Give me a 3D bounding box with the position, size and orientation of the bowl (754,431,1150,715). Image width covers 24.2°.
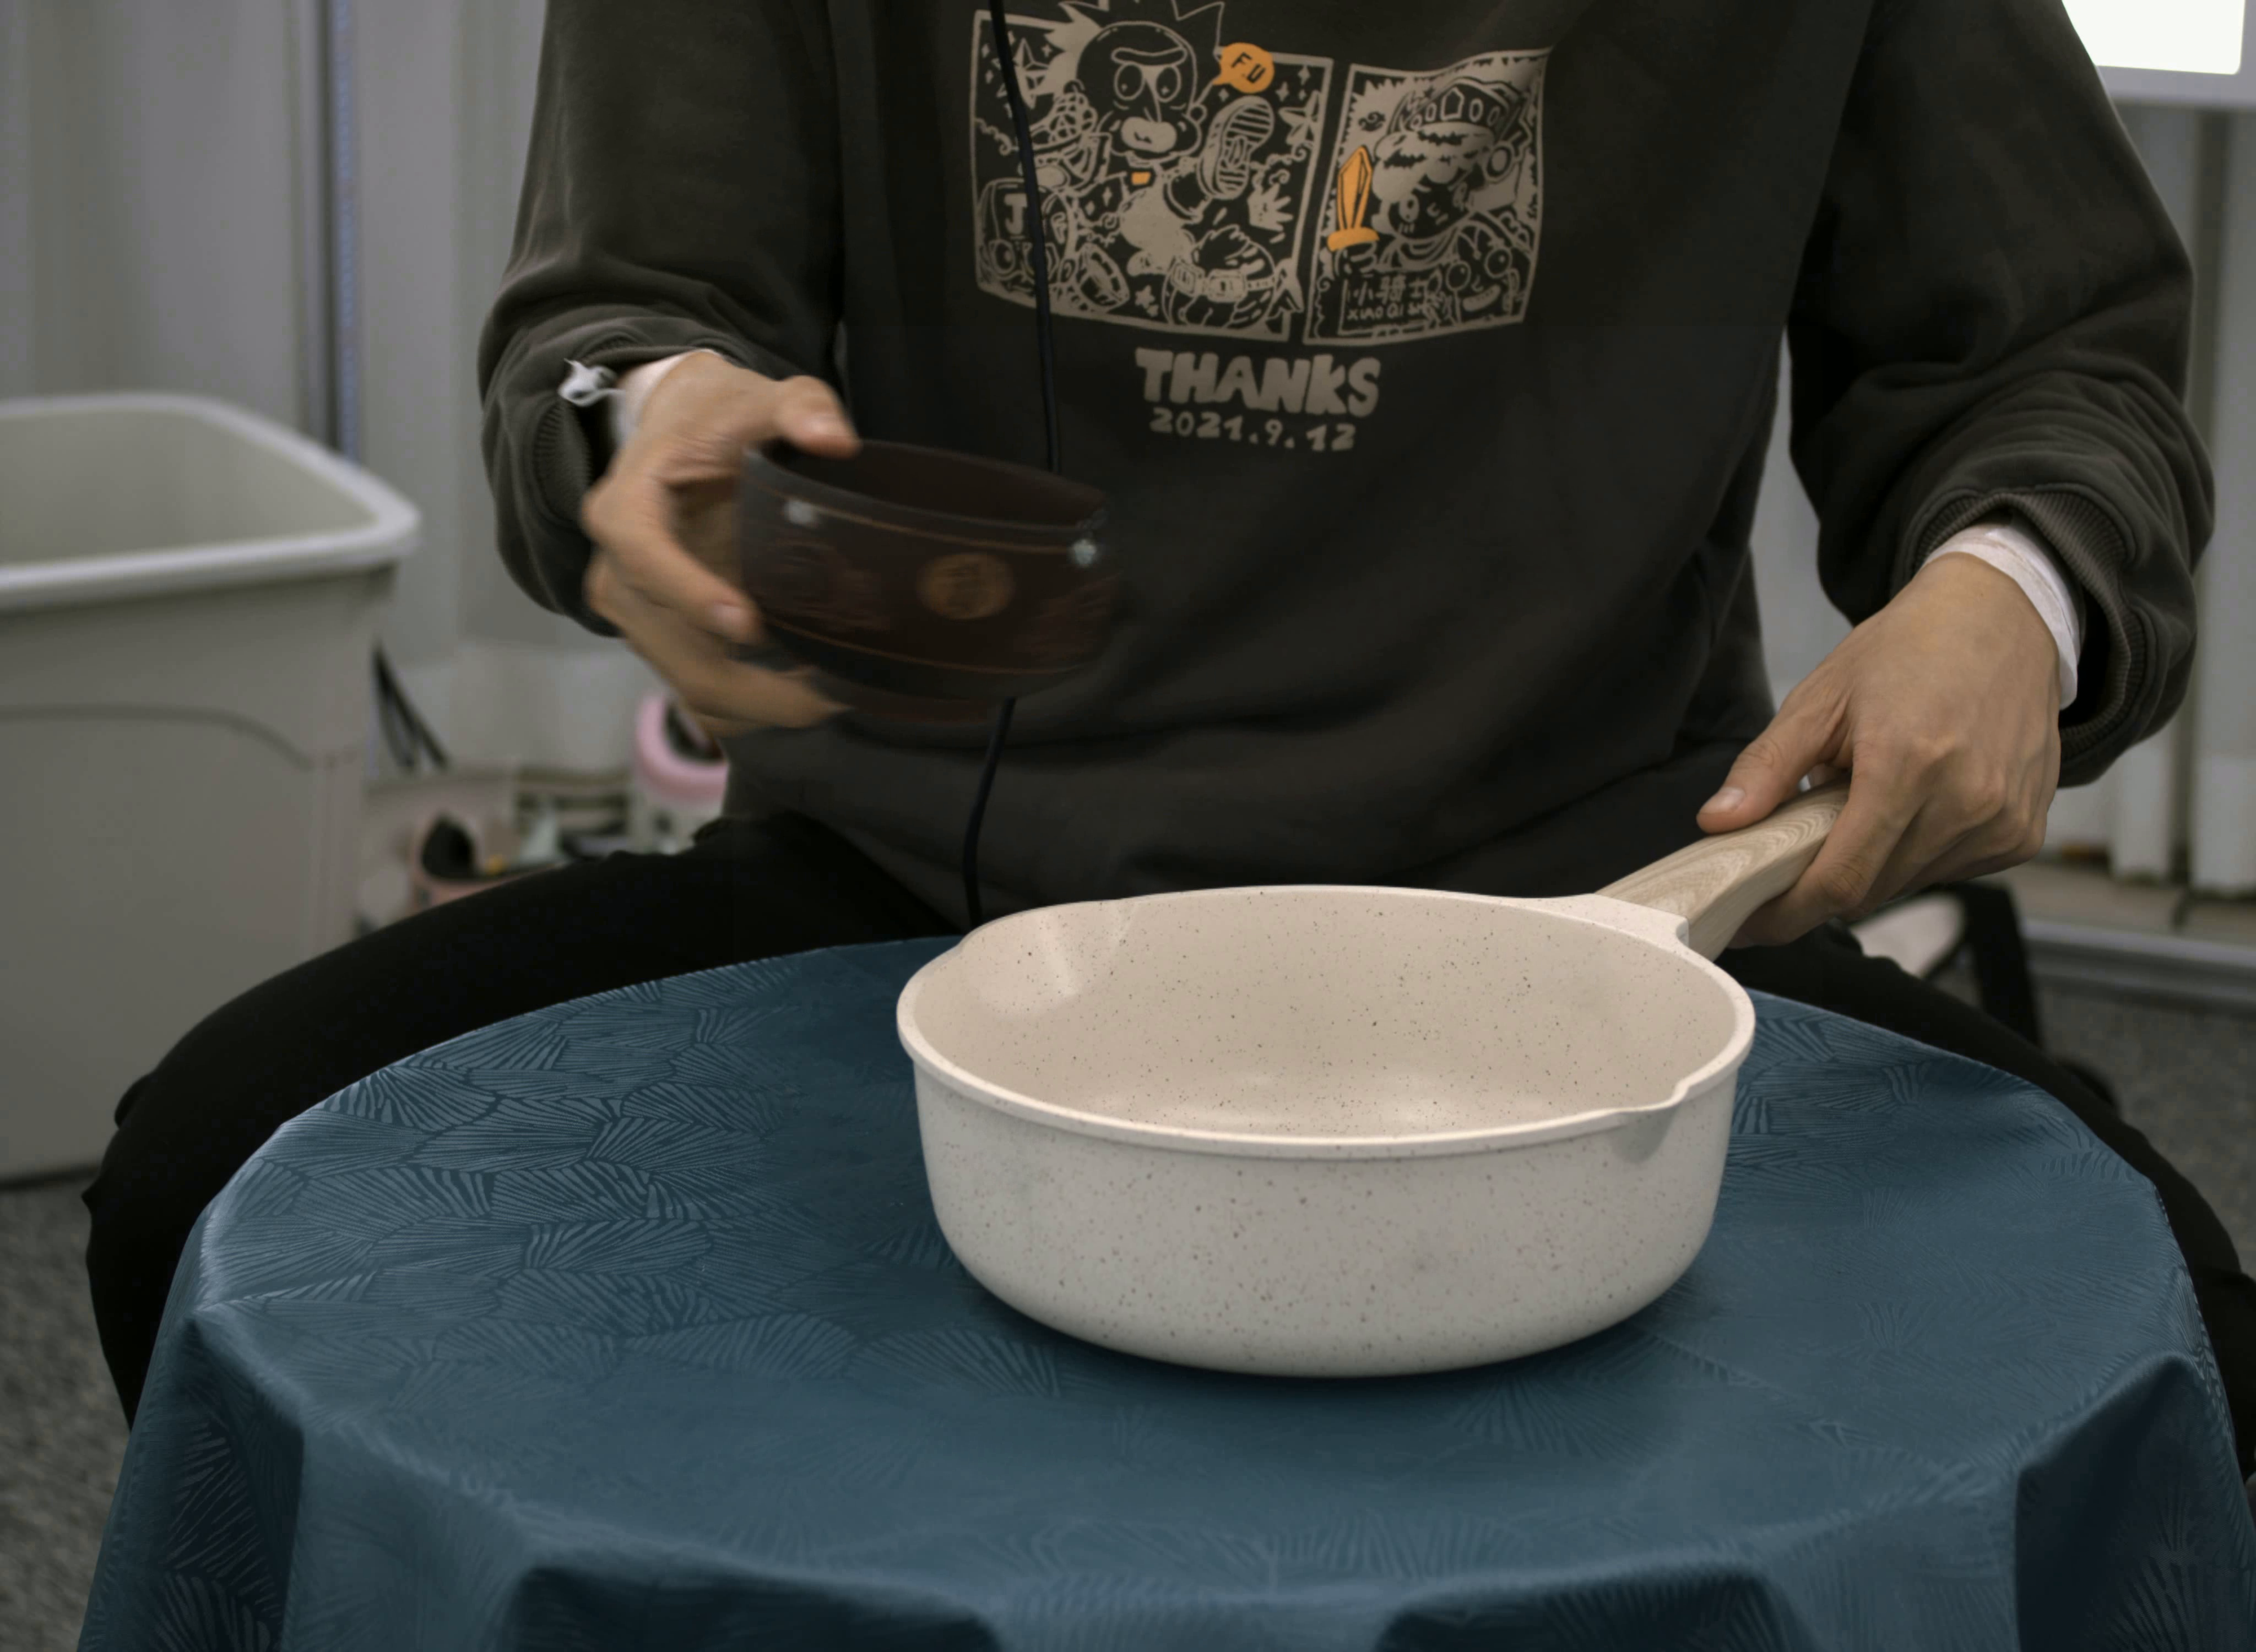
[{"bbox_3d":[-0.055,-0.073,1.572,0.118,0.070,0.117,9,12,-1],"label":"bowl"}]

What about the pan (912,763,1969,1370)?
[{"bbox_3d":[0.126,0.067,1.614,0.260,0.103,0.437,13,19,42],"label":"pan"}]
